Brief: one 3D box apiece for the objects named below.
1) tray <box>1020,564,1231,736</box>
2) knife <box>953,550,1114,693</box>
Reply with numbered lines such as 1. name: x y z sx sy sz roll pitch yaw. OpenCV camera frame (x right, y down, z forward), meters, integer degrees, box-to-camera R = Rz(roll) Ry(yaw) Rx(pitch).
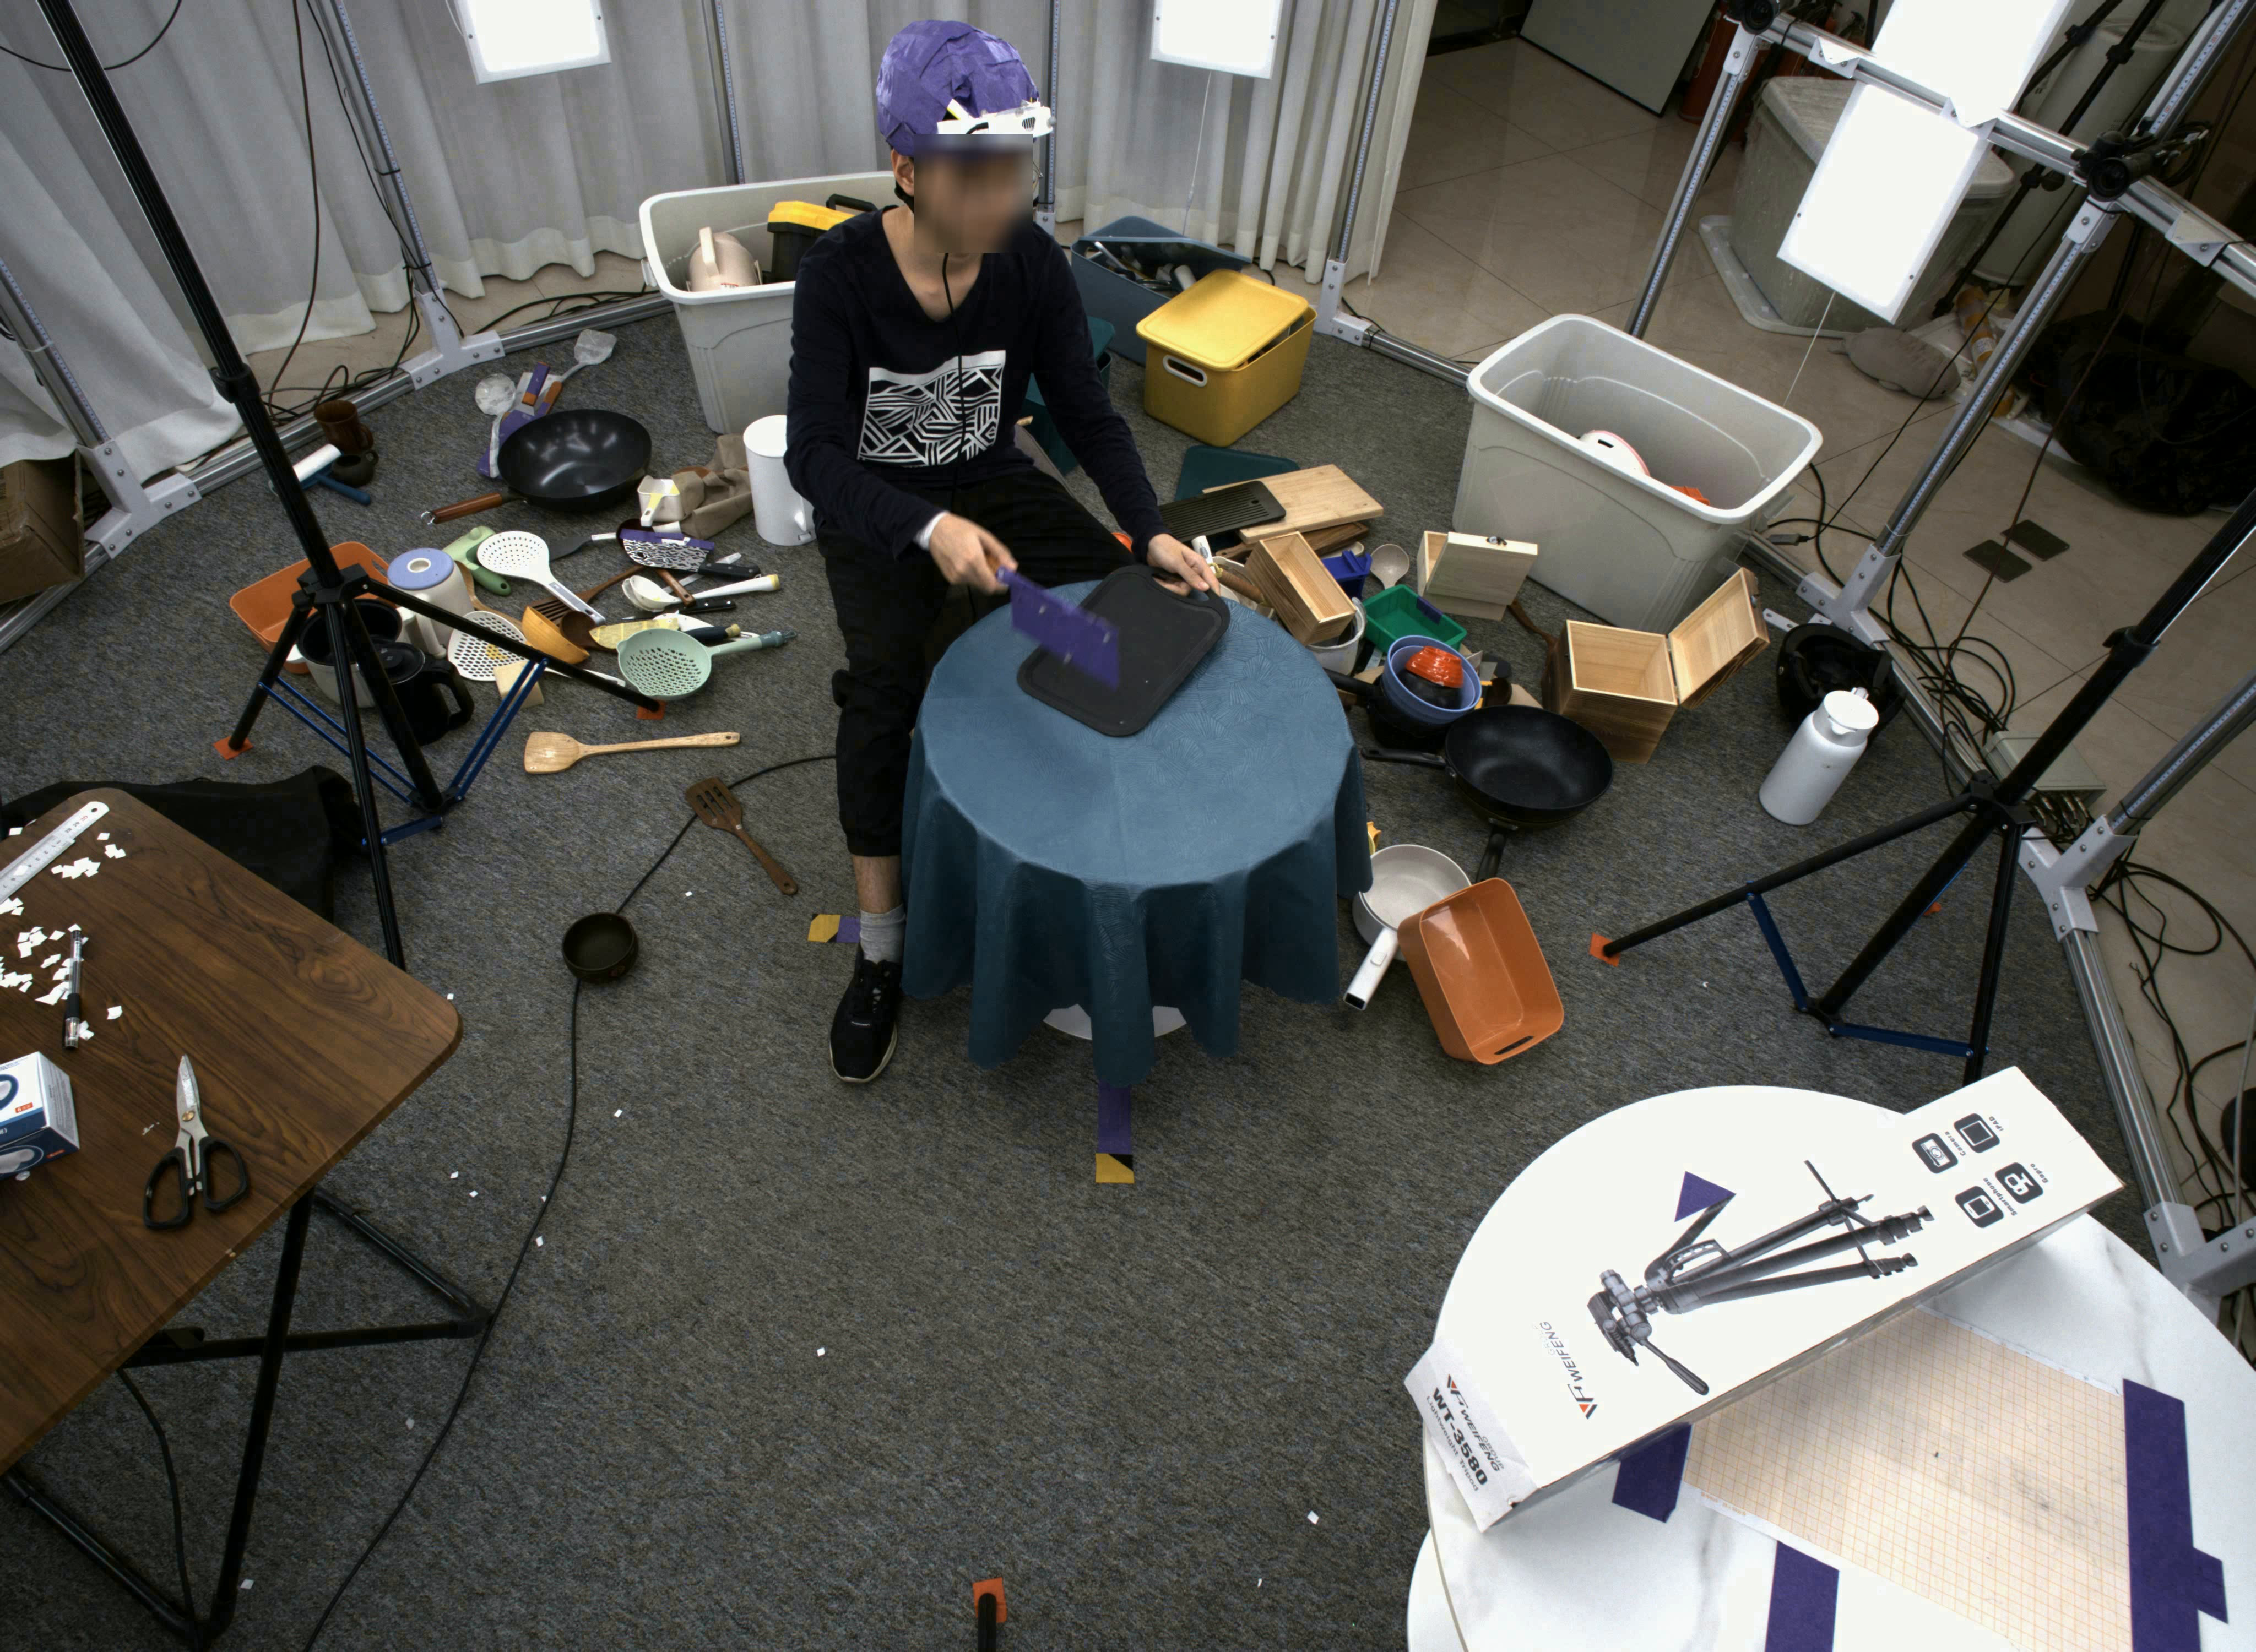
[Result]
1. tray: 0.004 -0.270 1.877 0.213 0.009 0.330 28 59 20
2. knife: -0.131 -0.275 1.743 0.032 0.101 0.320 -25 46 -35
